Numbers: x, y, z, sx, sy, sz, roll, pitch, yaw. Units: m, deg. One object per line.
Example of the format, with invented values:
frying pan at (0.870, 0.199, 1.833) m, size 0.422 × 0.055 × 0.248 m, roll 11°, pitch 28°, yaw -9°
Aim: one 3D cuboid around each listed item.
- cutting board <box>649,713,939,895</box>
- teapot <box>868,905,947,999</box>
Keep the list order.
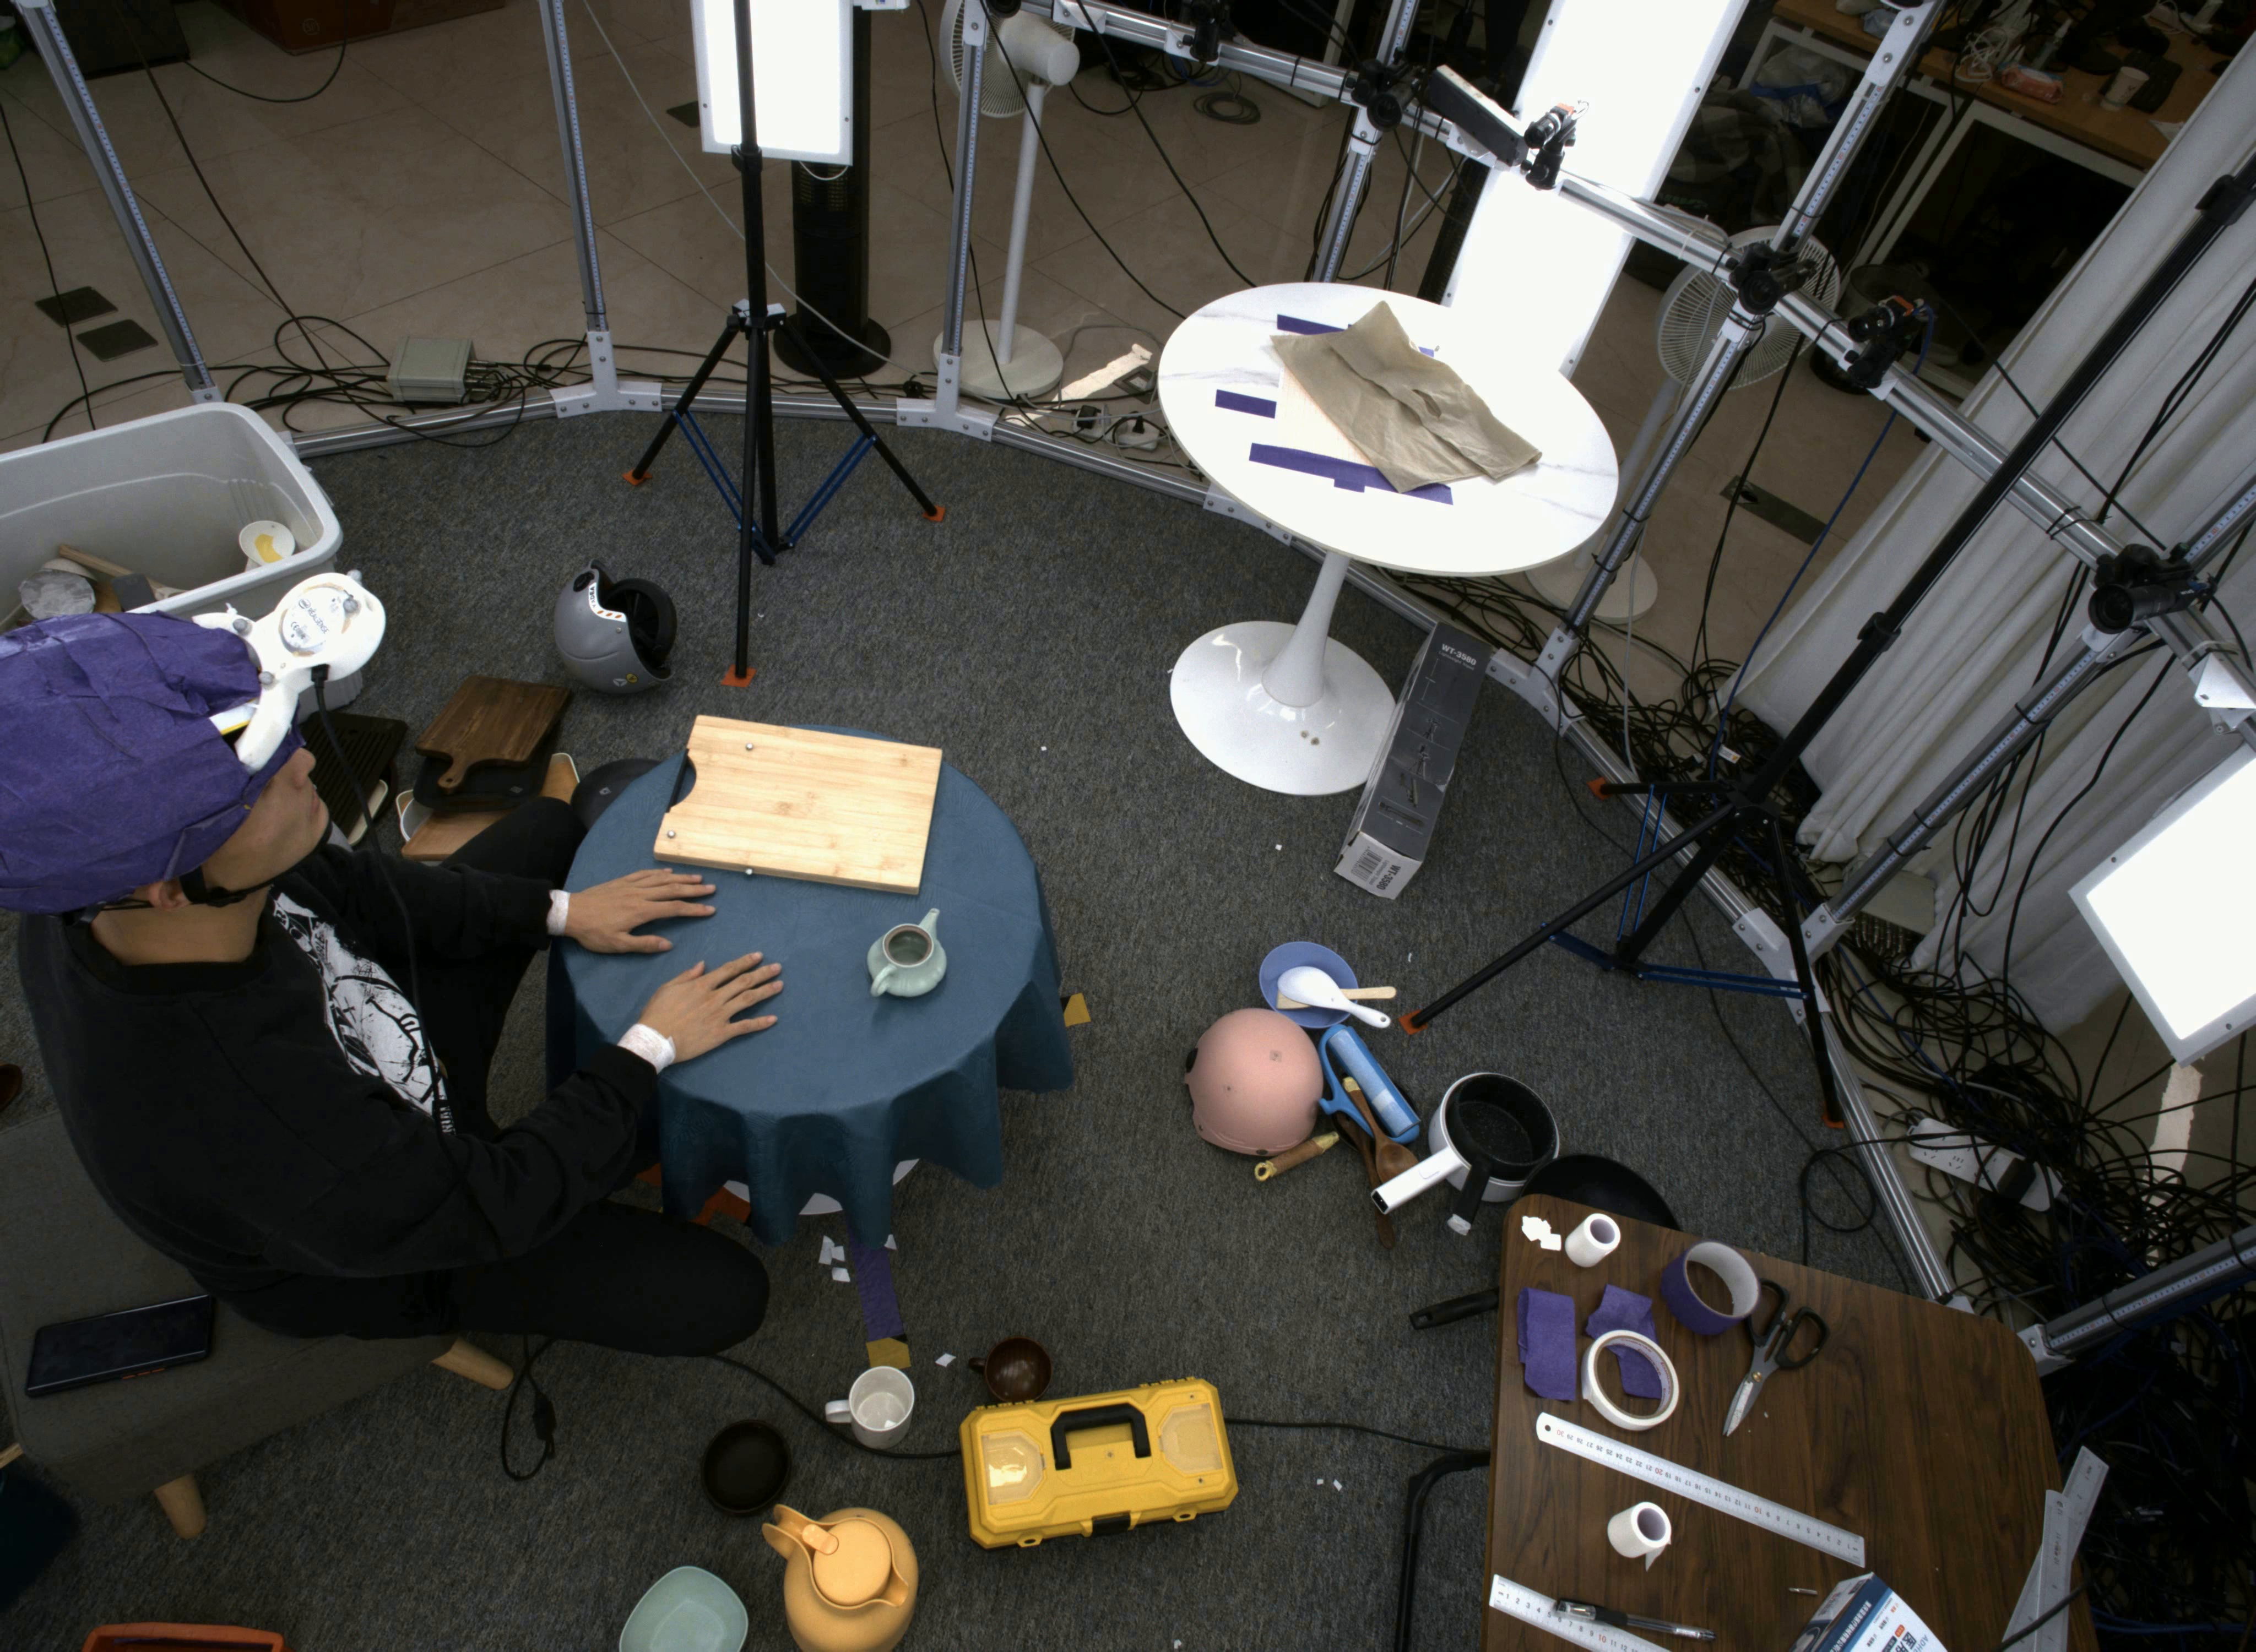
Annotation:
cutting board at (-0.438, -0.033, 1.732) m, size 0.348 × 0.024 × 0.246 m, roll 7°, pitch 52°, yaw -9°
teapot at (-0.273, 0.161, 1.601) m, size 0.095 × 0.062 × 0.136 m, roll 27°, pitch 52°, yaw 6°
